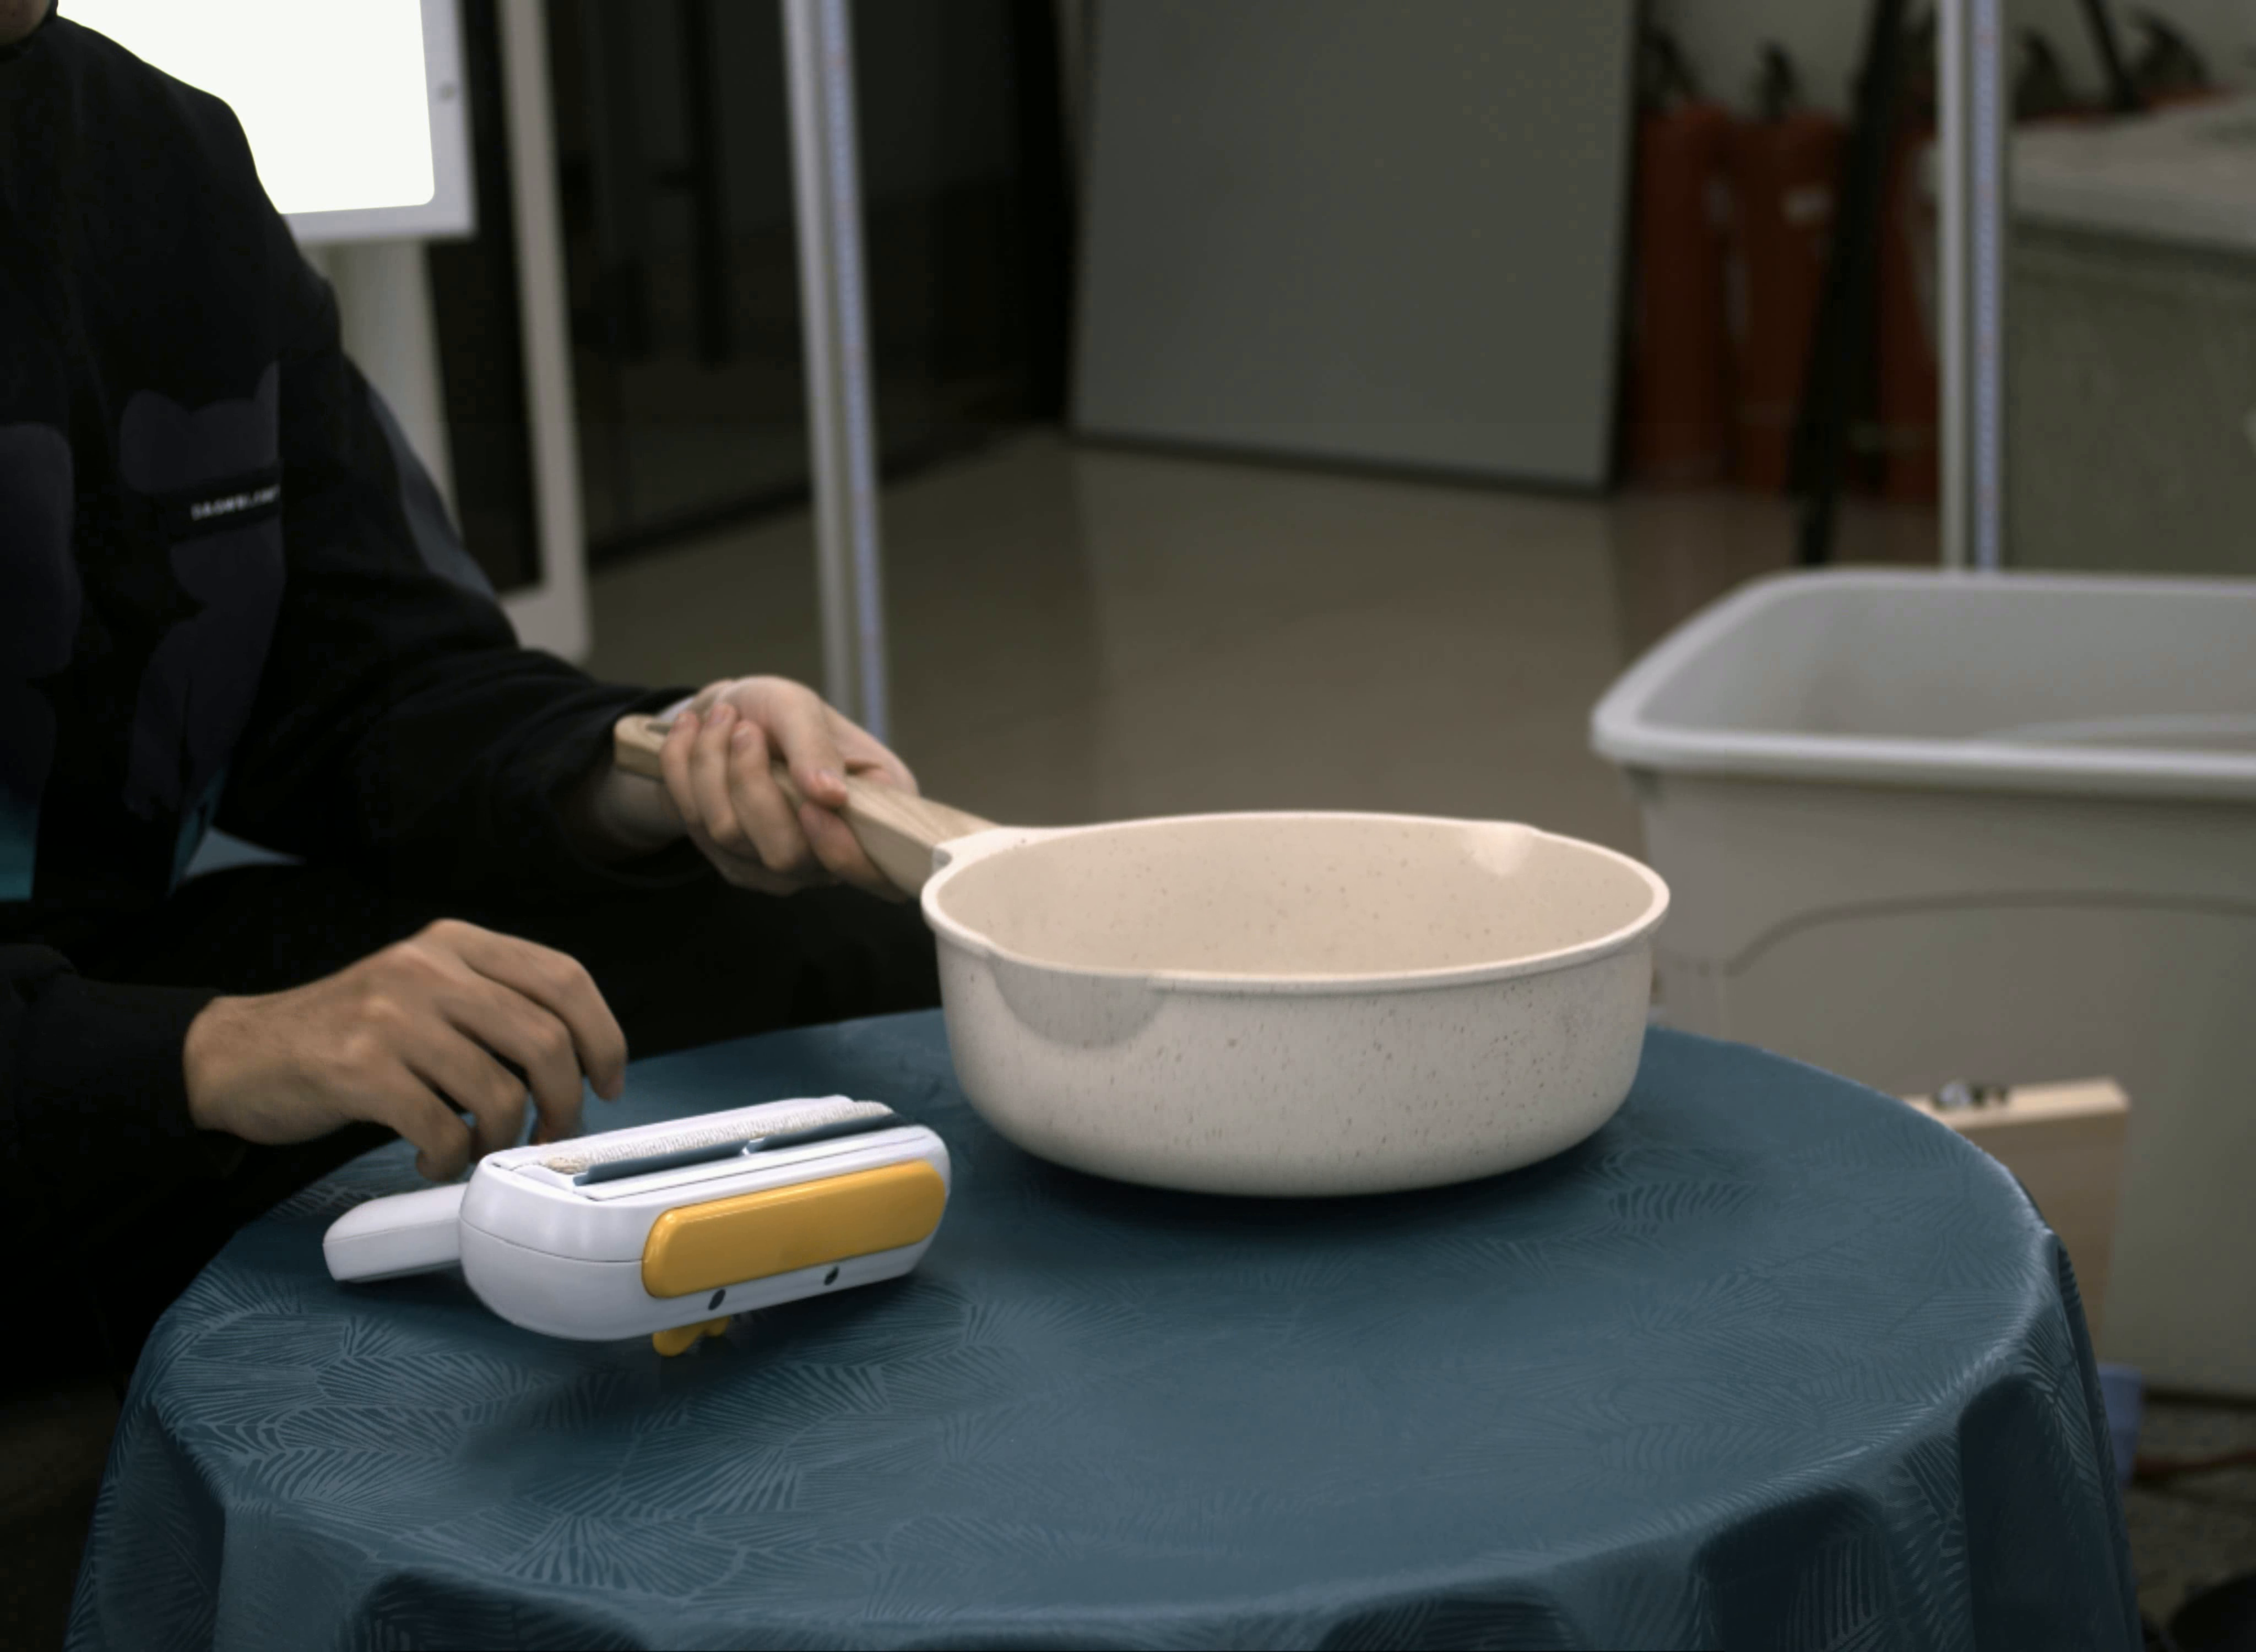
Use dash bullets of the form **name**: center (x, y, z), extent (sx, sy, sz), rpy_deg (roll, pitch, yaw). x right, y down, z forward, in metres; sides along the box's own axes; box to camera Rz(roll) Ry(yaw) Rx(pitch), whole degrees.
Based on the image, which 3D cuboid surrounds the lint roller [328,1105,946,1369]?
- **lint roller**: center (-0.176, 0.123, 1.677), extent (0.194, 0.075, 0.189), rpy_deg (5, 11, 39)

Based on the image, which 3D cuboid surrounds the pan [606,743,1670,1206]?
- **pan**: center (-0.013, 0.043, 1.862), extent (0.438, 0.103, 0.258), rpy_deg (8, 18, 39)
